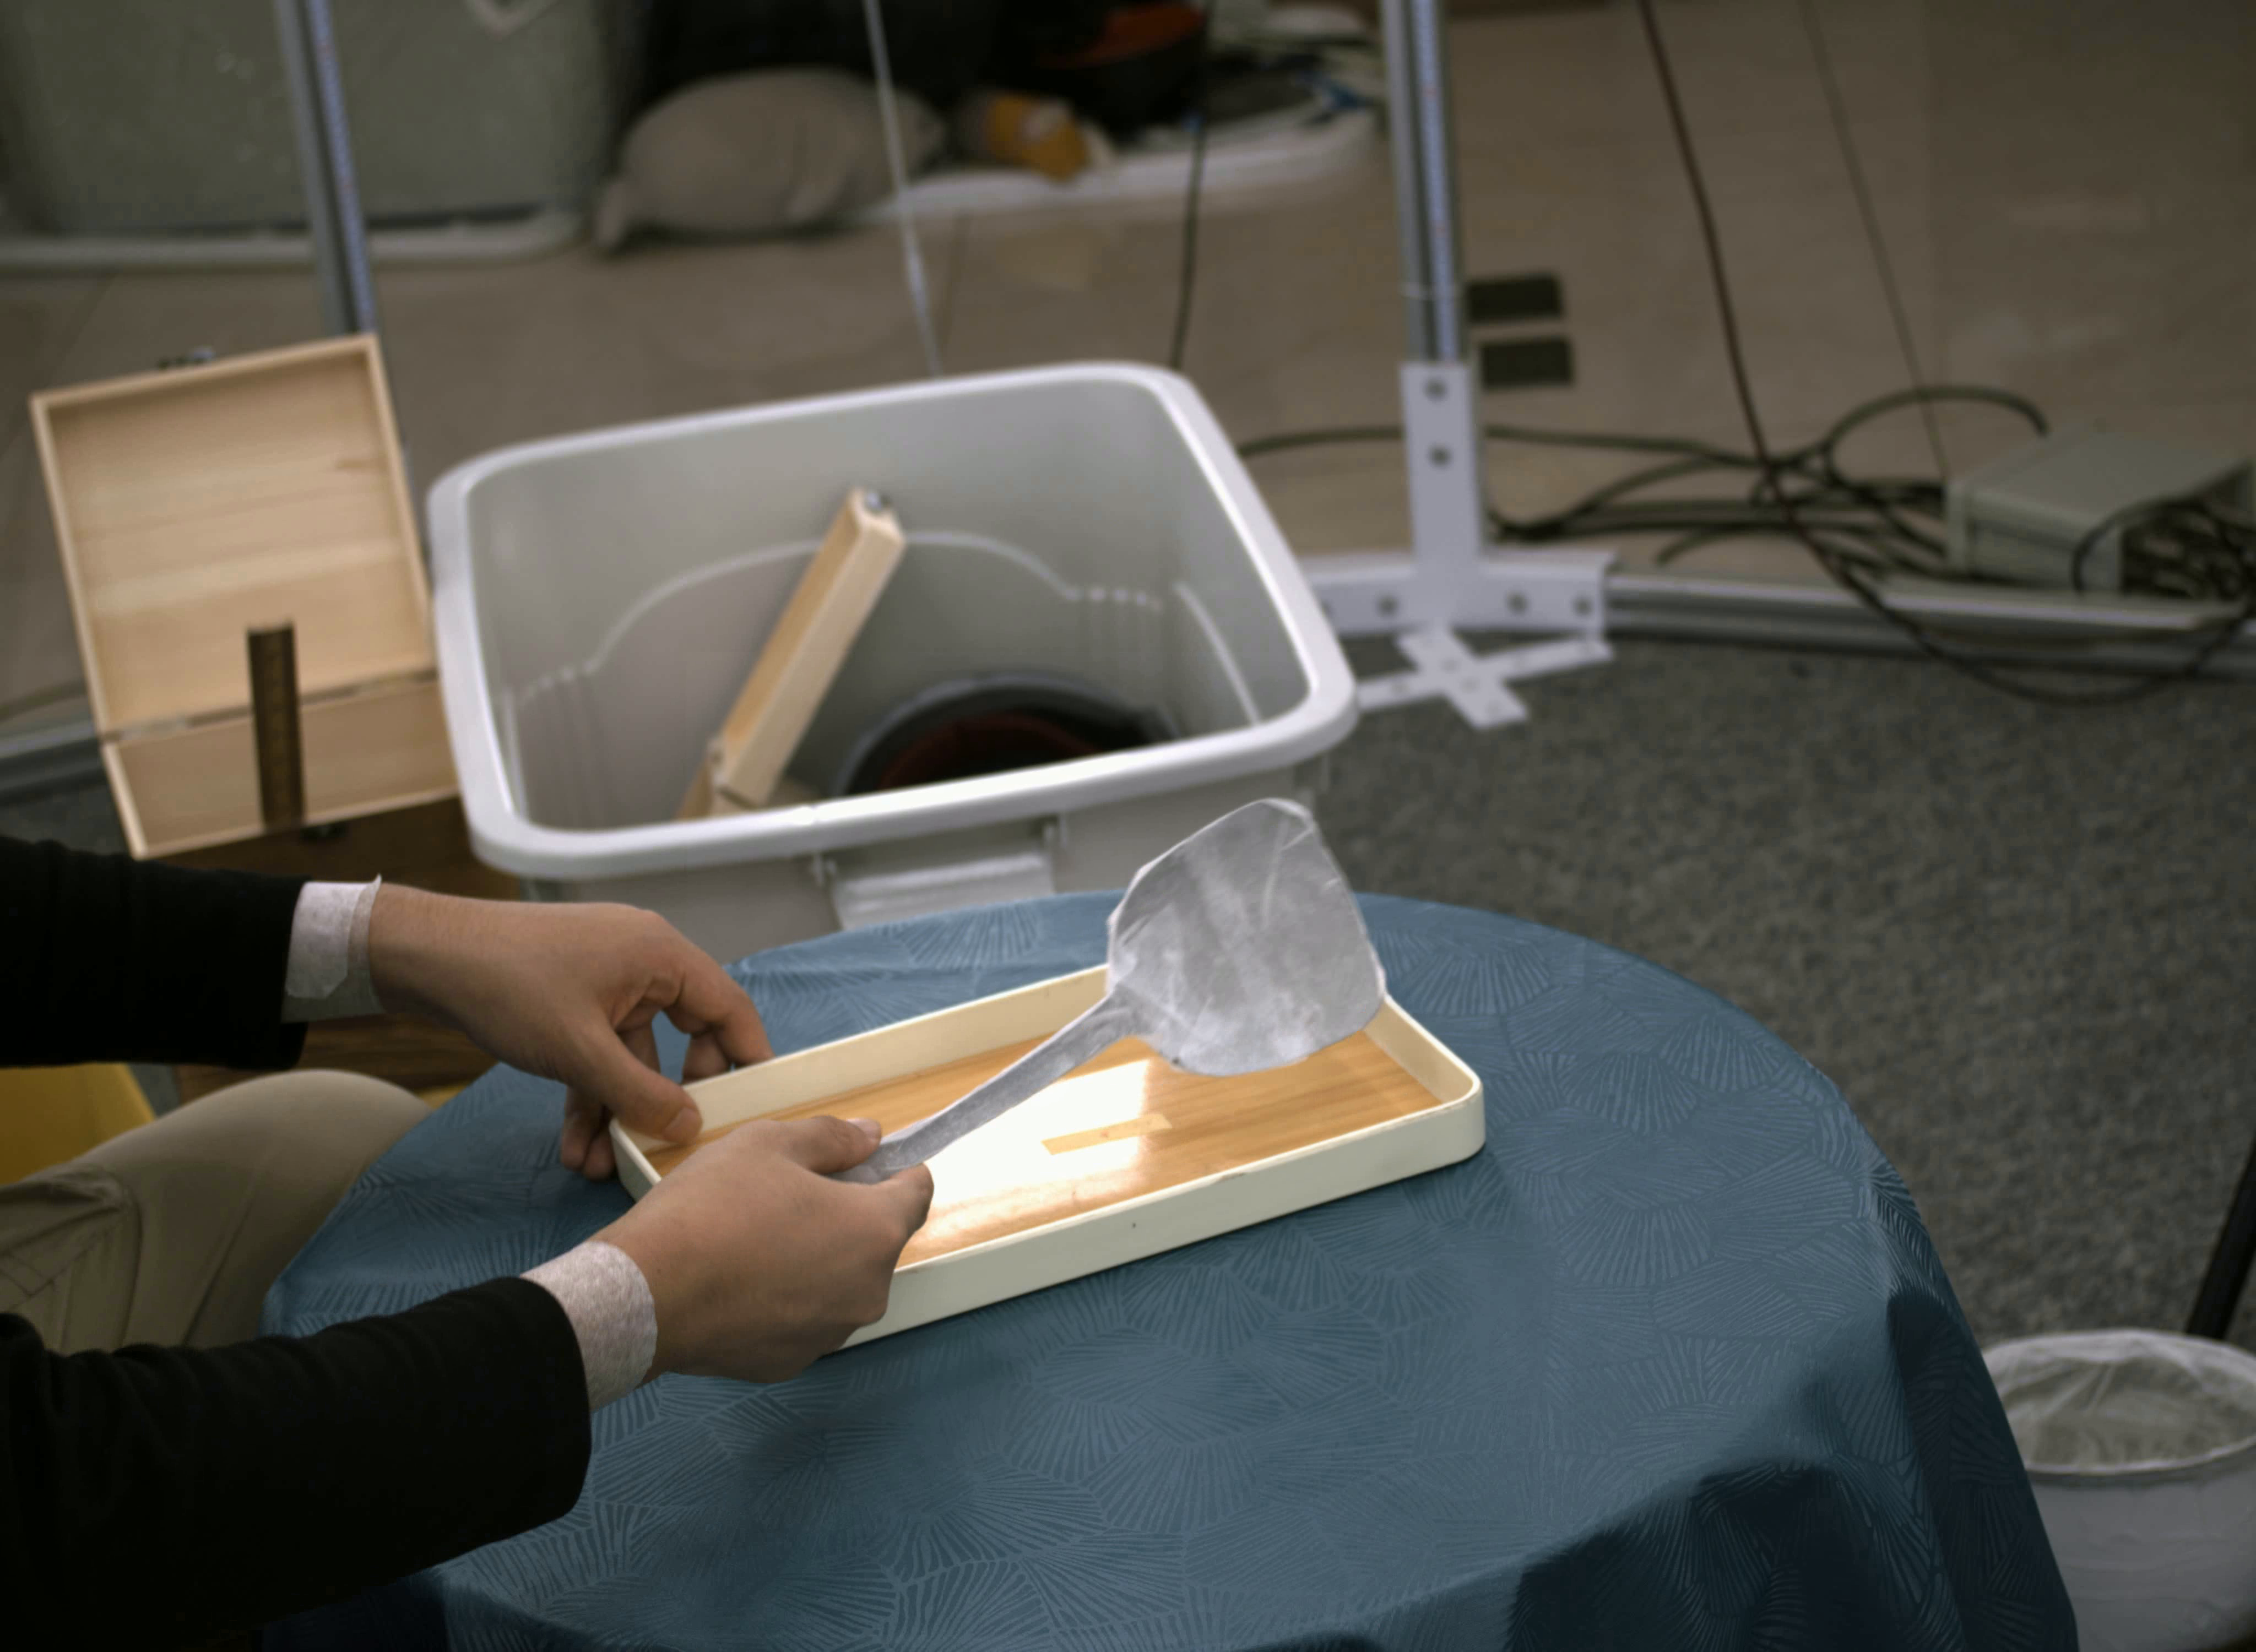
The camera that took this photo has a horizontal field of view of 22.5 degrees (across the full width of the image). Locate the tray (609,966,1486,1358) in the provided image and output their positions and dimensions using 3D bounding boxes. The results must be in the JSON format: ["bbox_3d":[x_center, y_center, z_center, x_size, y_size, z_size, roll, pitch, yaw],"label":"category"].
[{"bbox_3d":[-0.032,0.117,2.172,0.299,0.028,0.189,-15,26,-18],"label":"tray"}]

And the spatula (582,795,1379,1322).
[{"bbox_3d":[-0.050,0.098,2.058,0.361,0.099,0.045,-30,7,-39],"label":"spatula"}]
